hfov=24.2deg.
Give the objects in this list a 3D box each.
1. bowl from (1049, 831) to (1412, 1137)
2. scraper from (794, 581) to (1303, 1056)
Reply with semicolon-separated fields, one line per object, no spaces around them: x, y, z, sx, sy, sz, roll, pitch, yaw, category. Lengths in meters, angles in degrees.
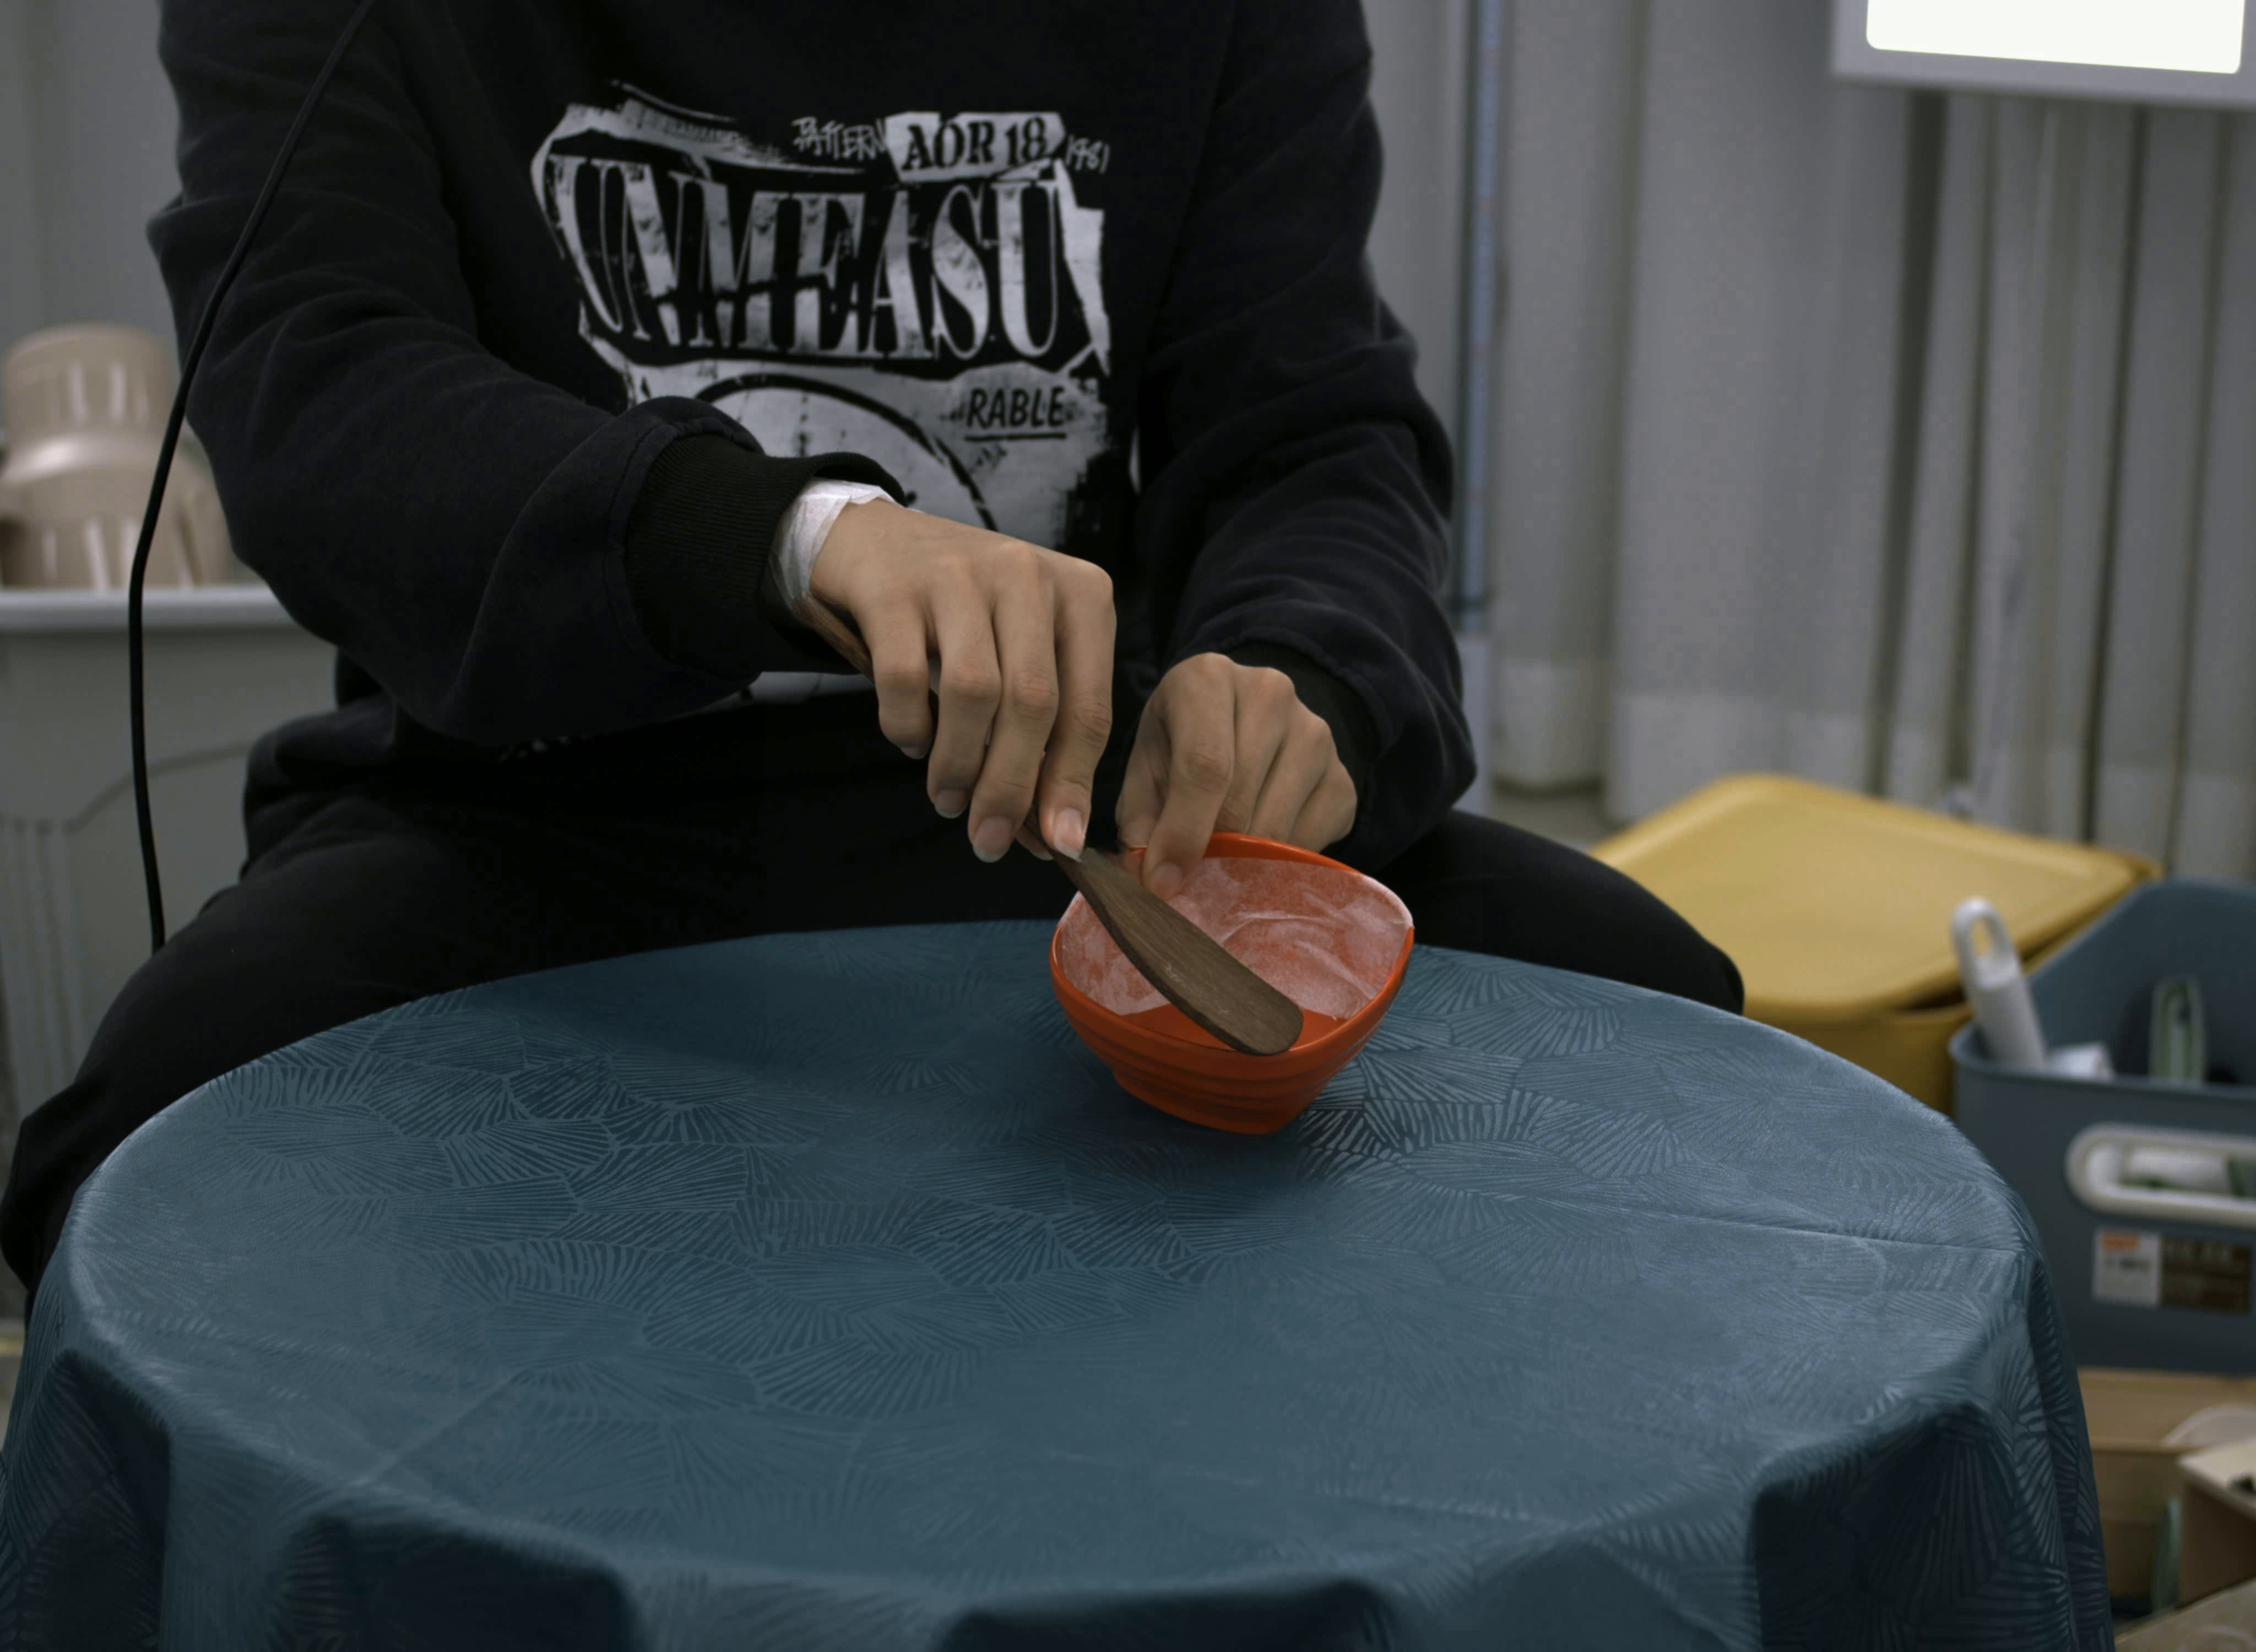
0.033;0.056;1.694;0.118;0.052;0.118;1;39;0;bowl
-0.027;-0.002;1.647;0.211;0.011;0.076;44;14;2;scraper
